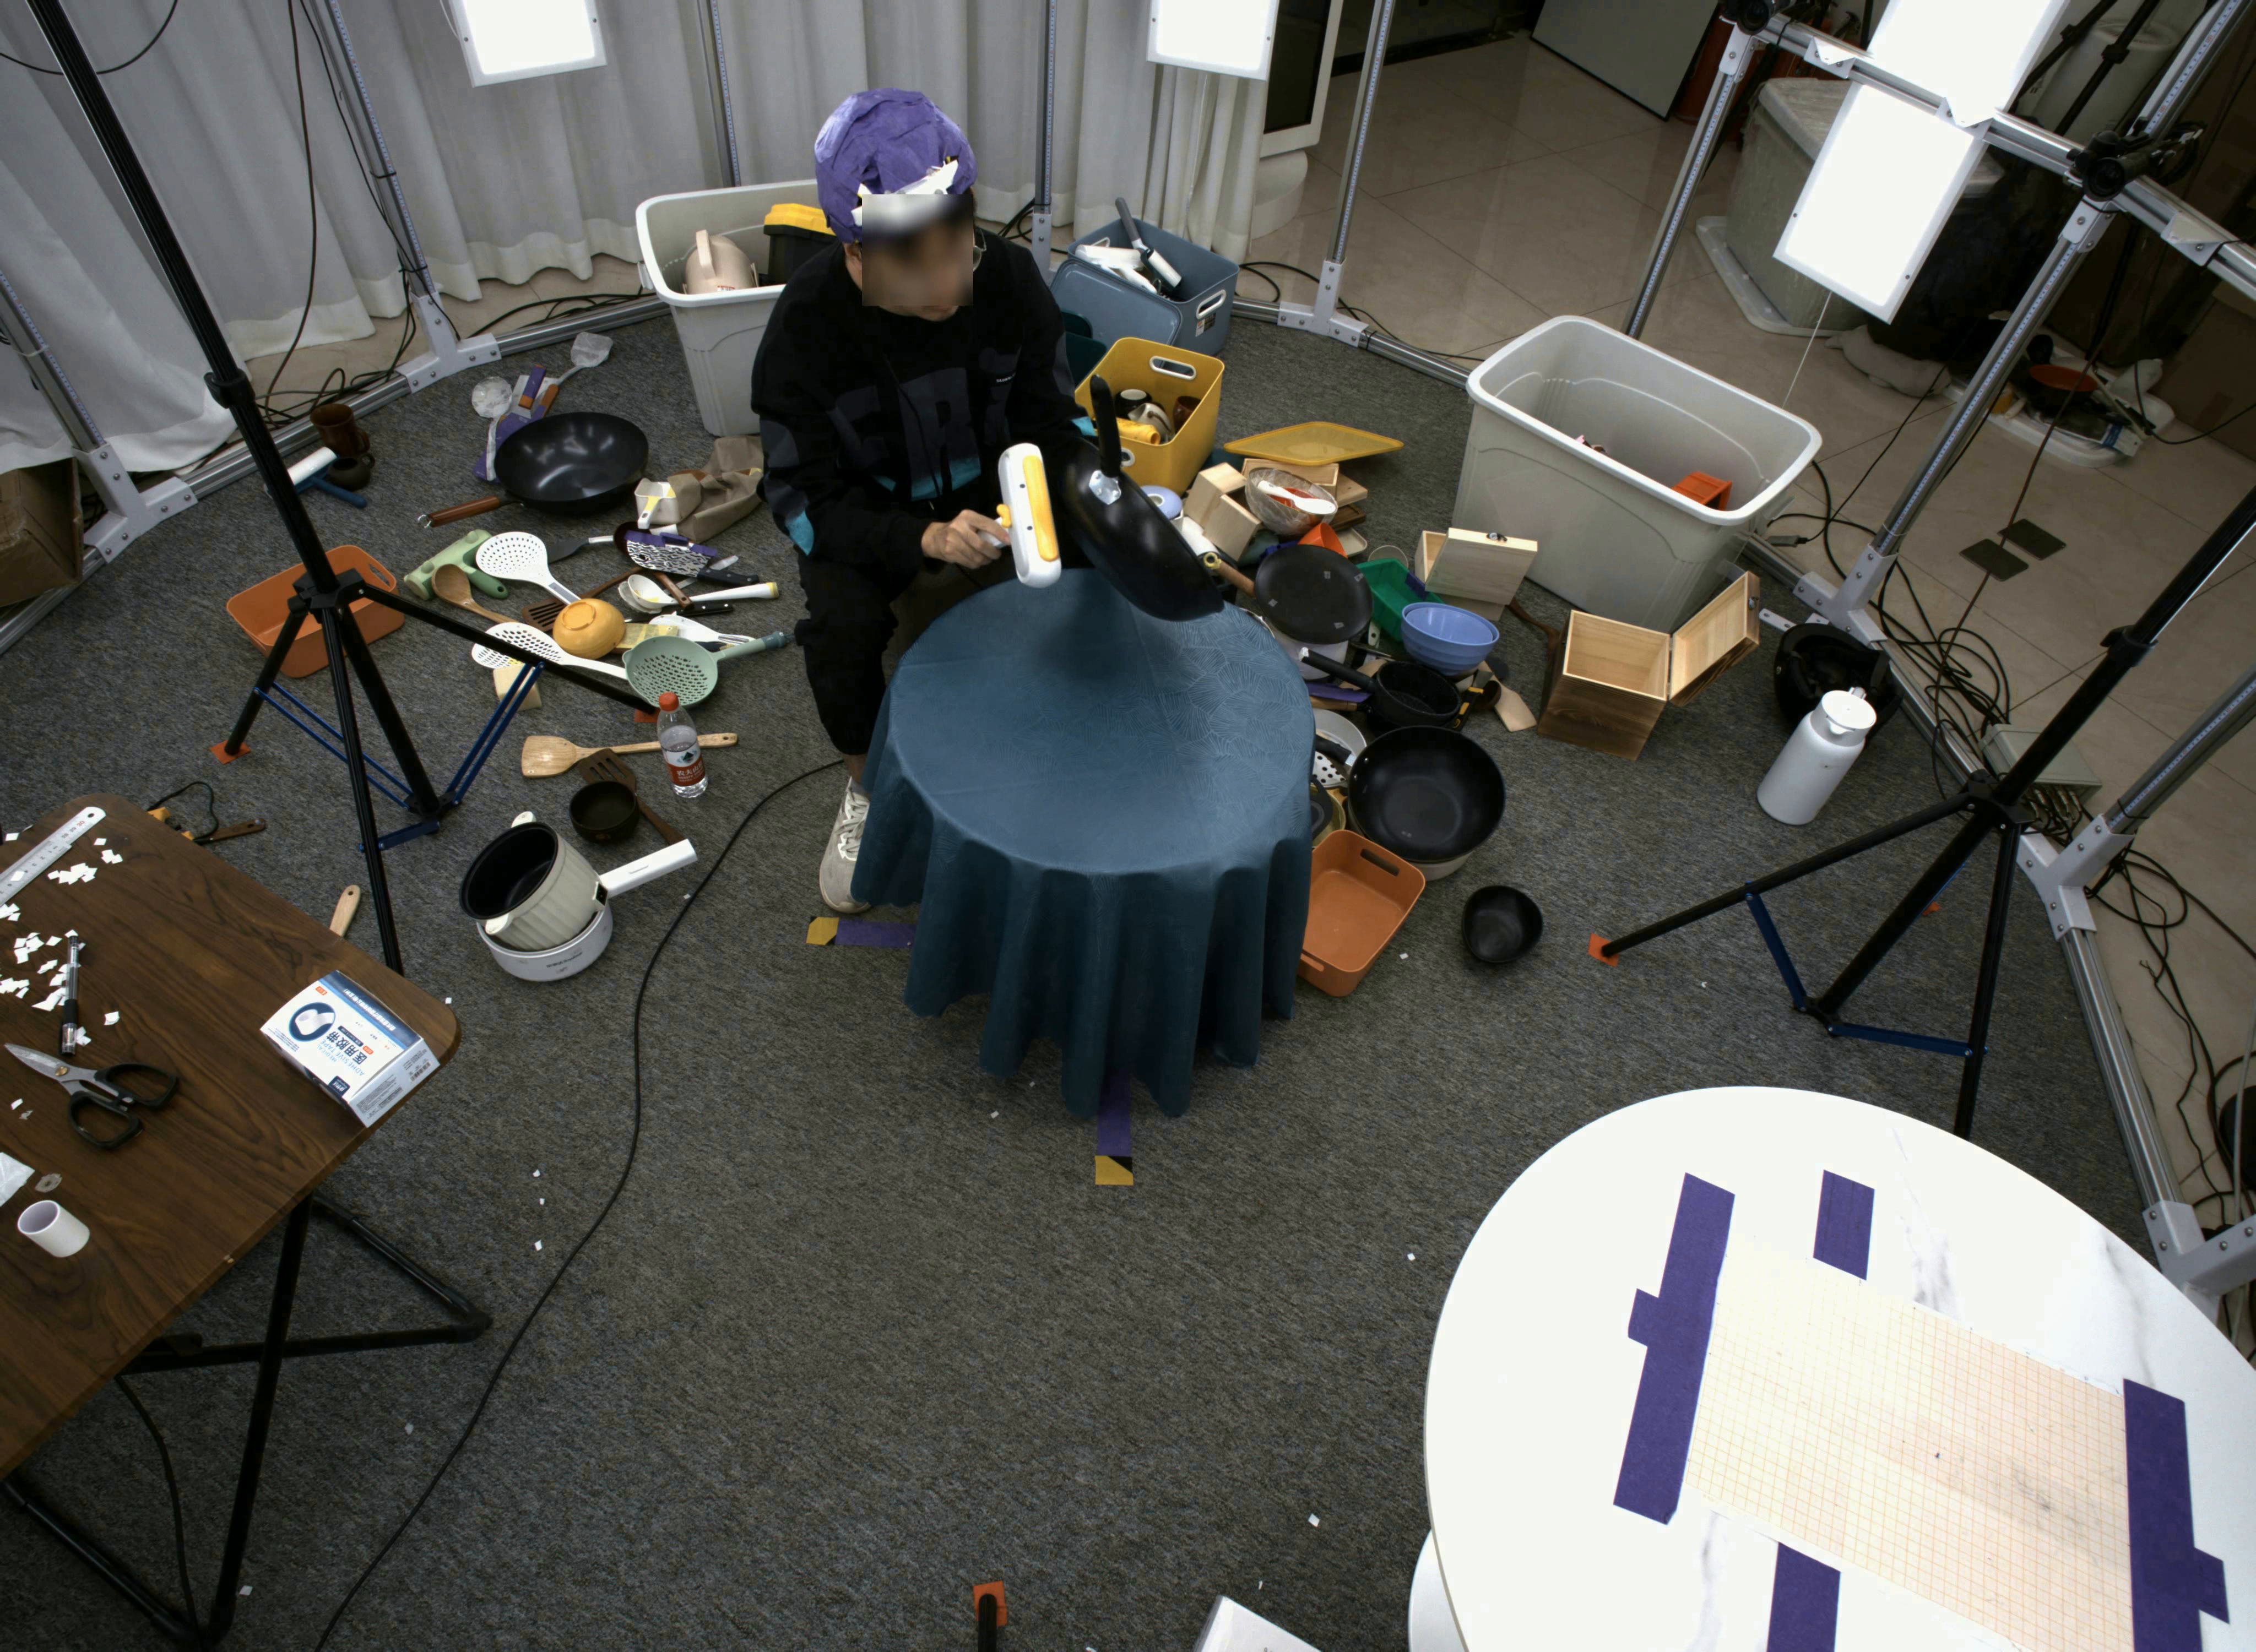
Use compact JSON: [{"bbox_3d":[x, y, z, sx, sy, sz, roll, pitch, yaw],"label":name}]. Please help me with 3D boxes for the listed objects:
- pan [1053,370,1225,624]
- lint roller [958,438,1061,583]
[{"bbox_3d":[-0.016,-0.411,1.684,0.111,0.469,0.315,-43,67,0],"label":"pan"},{"bbox_3d":[-0.169,-0.406,1.762,0.074,0.191,0.194,-13,84,-32],"label":"lint roller"}]
